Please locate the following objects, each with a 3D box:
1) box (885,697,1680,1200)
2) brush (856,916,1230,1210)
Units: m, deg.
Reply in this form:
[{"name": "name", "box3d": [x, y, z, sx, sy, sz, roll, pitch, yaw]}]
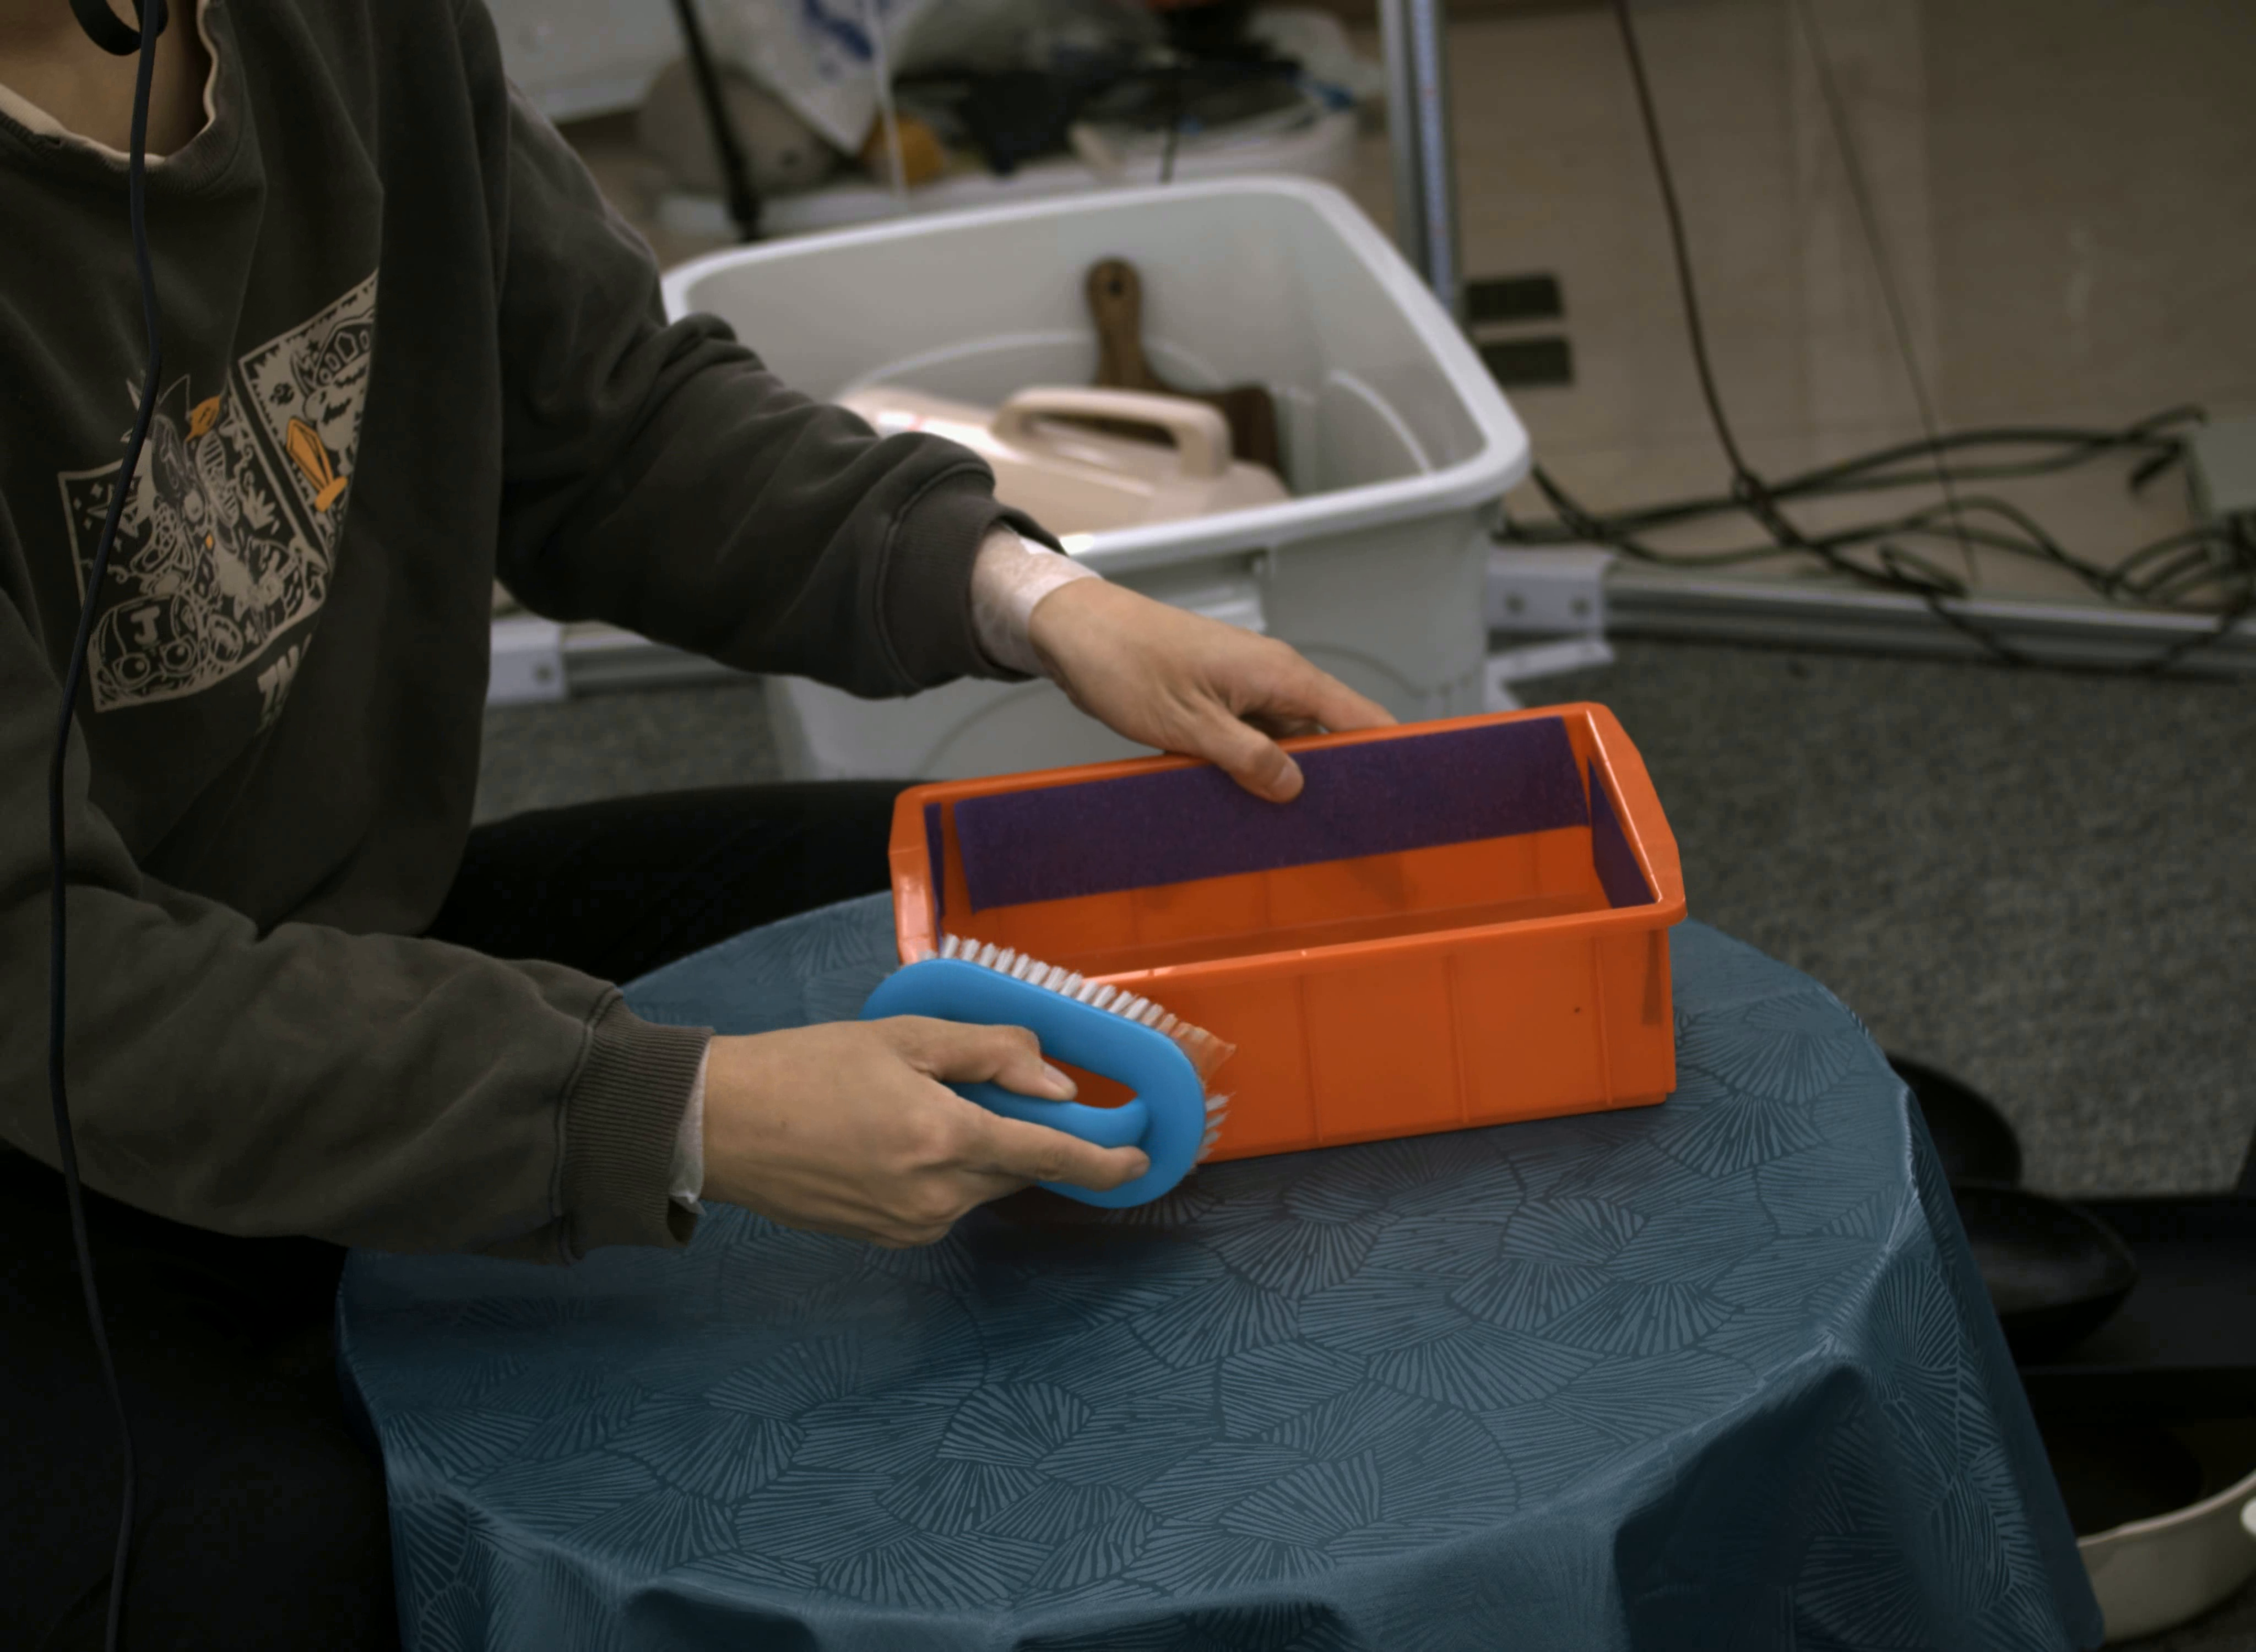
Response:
[{"name": "box", "box3d": [0.061, 0.048, 2.223, 0.303, 0.098, 0.203, -7, 25, -1]}, {"name": "brush", "box3d": [-0.037, 0.093, 2.087, 0.141, 0.085, 0.063, 22, 22, 8]}]
